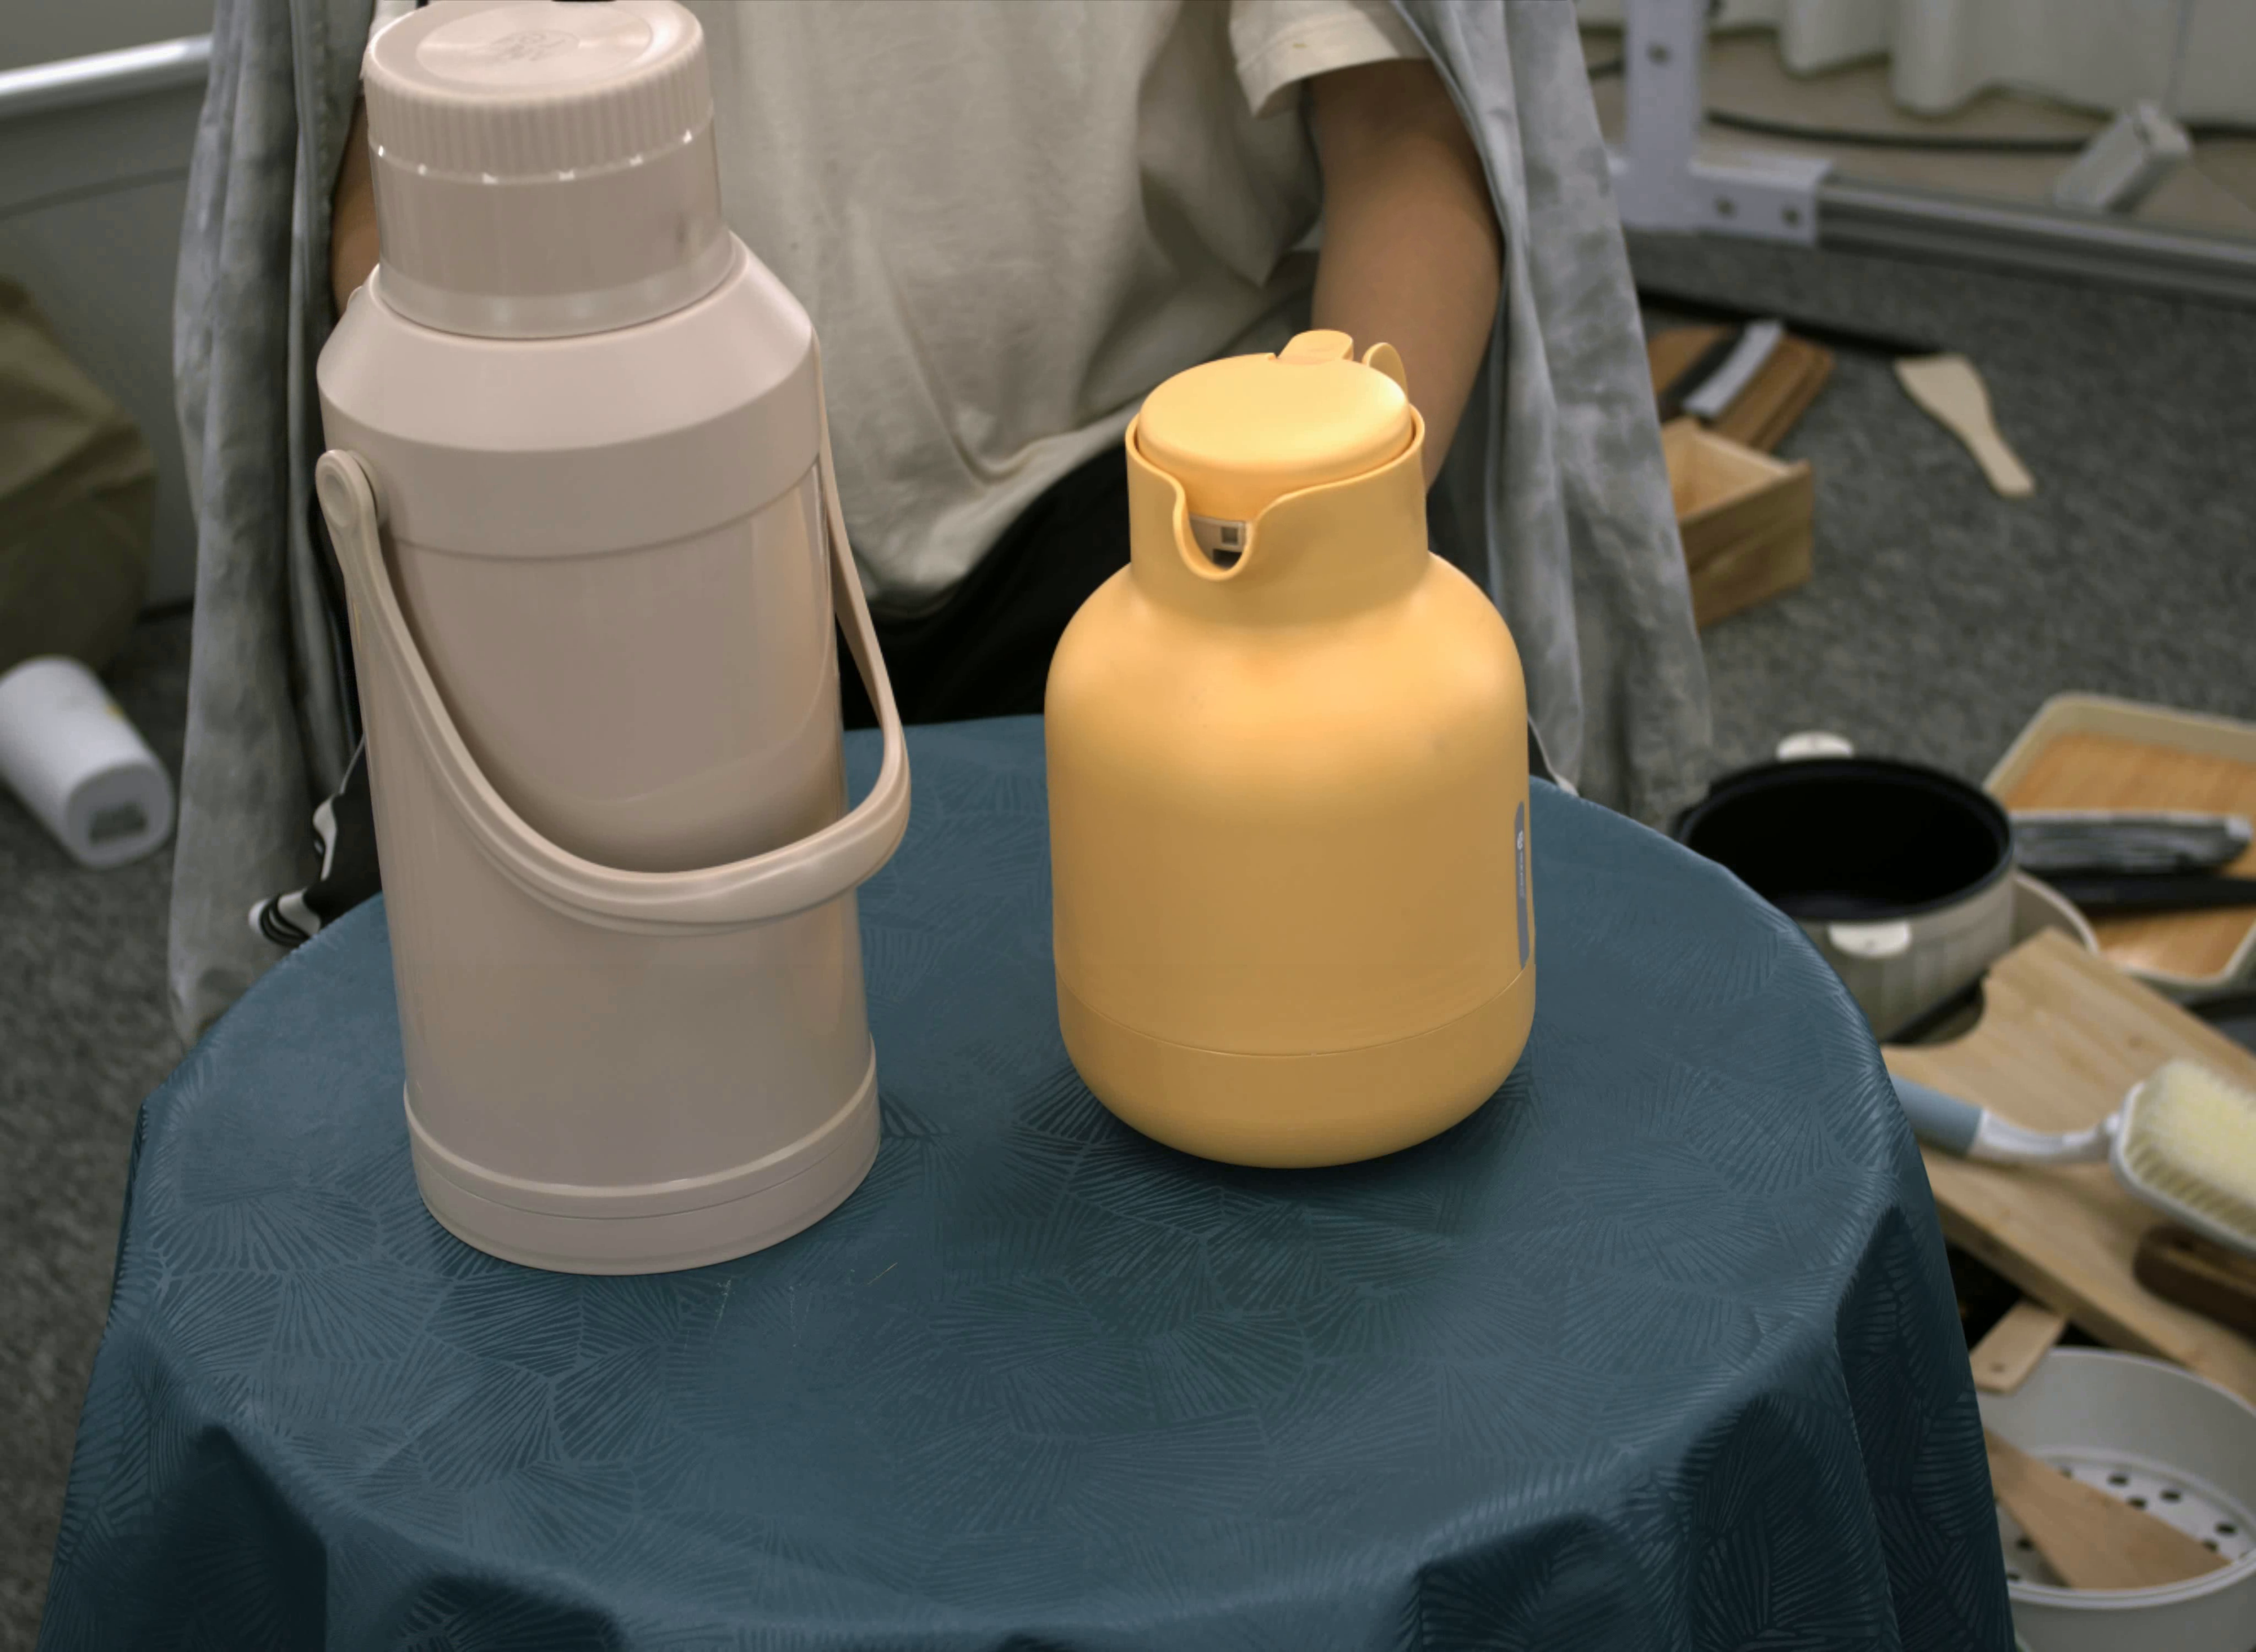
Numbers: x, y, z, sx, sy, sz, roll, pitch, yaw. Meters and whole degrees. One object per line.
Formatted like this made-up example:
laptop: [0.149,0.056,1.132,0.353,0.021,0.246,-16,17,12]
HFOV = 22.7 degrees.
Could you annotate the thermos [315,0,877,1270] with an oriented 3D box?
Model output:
thermos: [-0.180,-0.071,1.824,0.177,0.402,0.207,-22,32,-32]

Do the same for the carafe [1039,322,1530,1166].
carafe: [0.059,-0.036,1.880,0.162,0.257,0.206,8,30,17]
